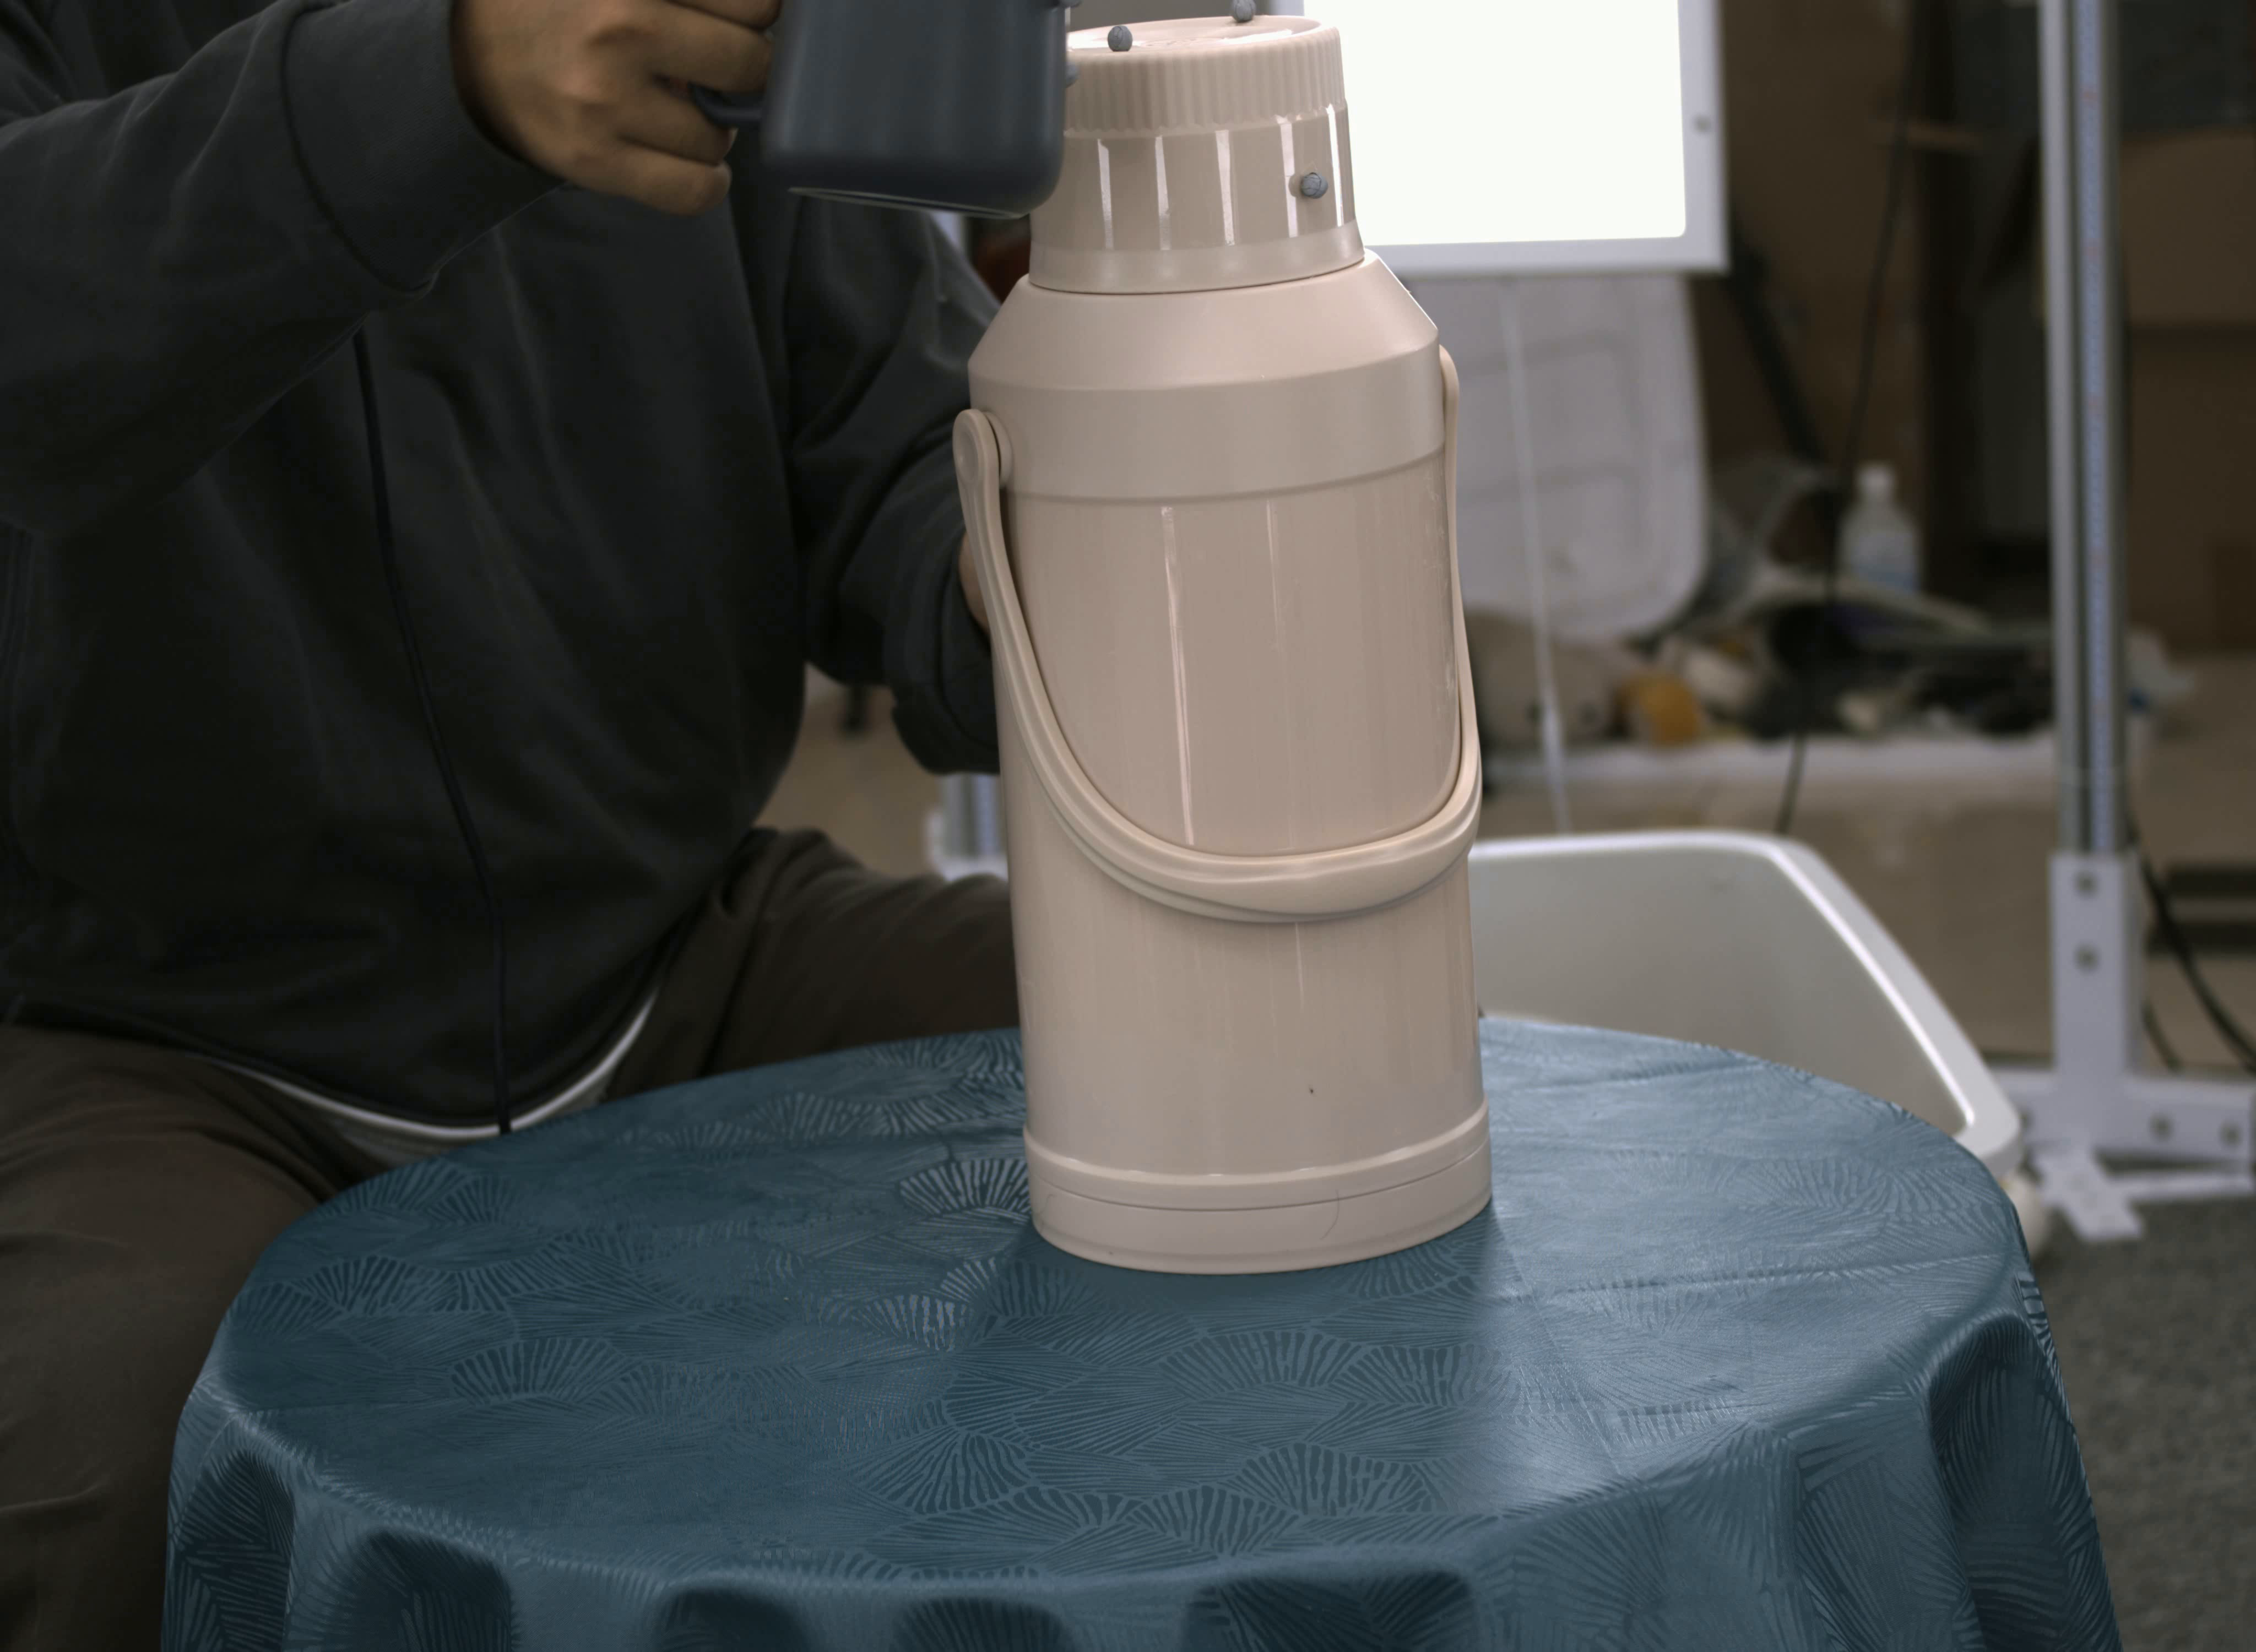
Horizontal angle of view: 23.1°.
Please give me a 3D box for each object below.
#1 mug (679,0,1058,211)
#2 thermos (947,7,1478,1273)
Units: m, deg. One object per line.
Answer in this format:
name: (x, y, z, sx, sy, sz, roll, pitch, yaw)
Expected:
mug: (-0.079, -0.238, 1.681, 0.125, 0.090, 0.092, 9, 5, 23)
thermos: (0.024, -0.067, 1.842, 0.172, 0.408, 0.210, -10, 15, -23)
